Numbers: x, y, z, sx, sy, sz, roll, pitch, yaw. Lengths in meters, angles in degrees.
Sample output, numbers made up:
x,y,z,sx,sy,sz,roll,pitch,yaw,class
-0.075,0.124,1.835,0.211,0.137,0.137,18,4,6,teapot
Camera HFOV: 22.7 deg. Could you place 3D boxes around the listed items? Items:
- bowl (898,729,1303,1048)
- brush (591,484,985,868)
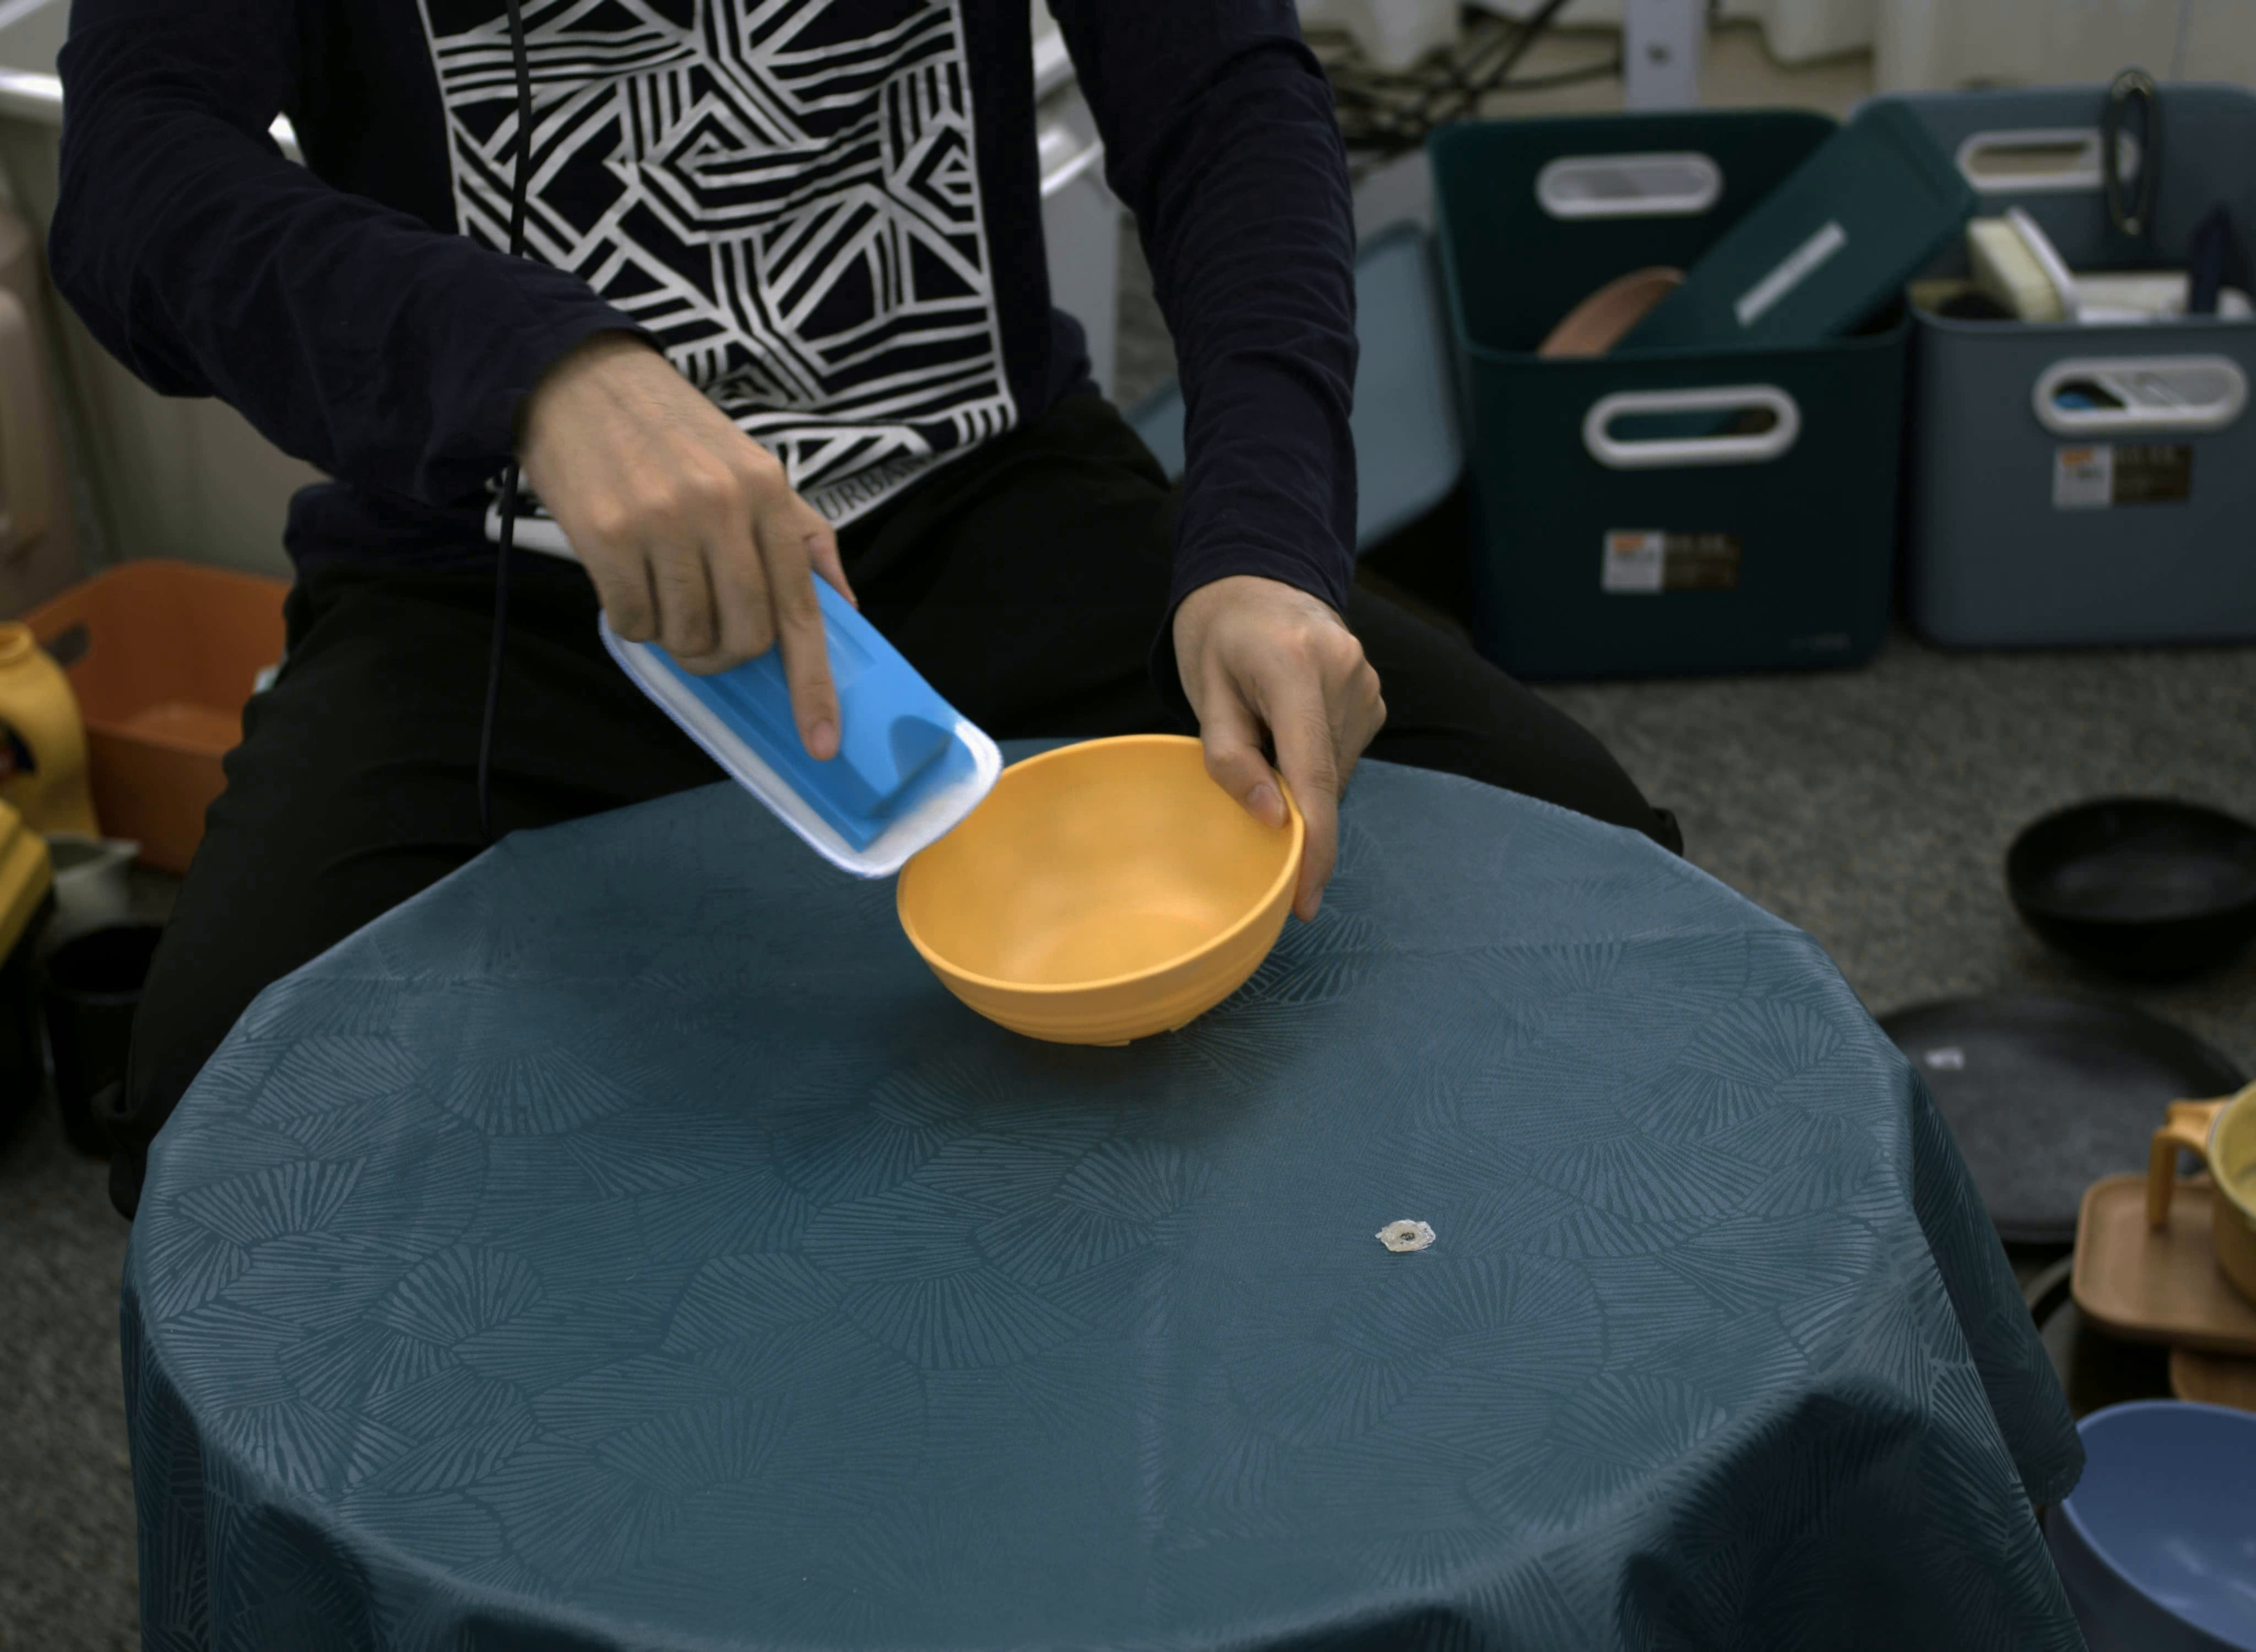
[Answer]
x,y,z,sx,sy,sz,roll,pitch,yaw,class
-0.005,0.034,1.955,0.144,0.059,0.148,-9,36,7,bowl
-0.111,-0.058,1.926,0.144,0.055,0.085,47,55,7,brush
